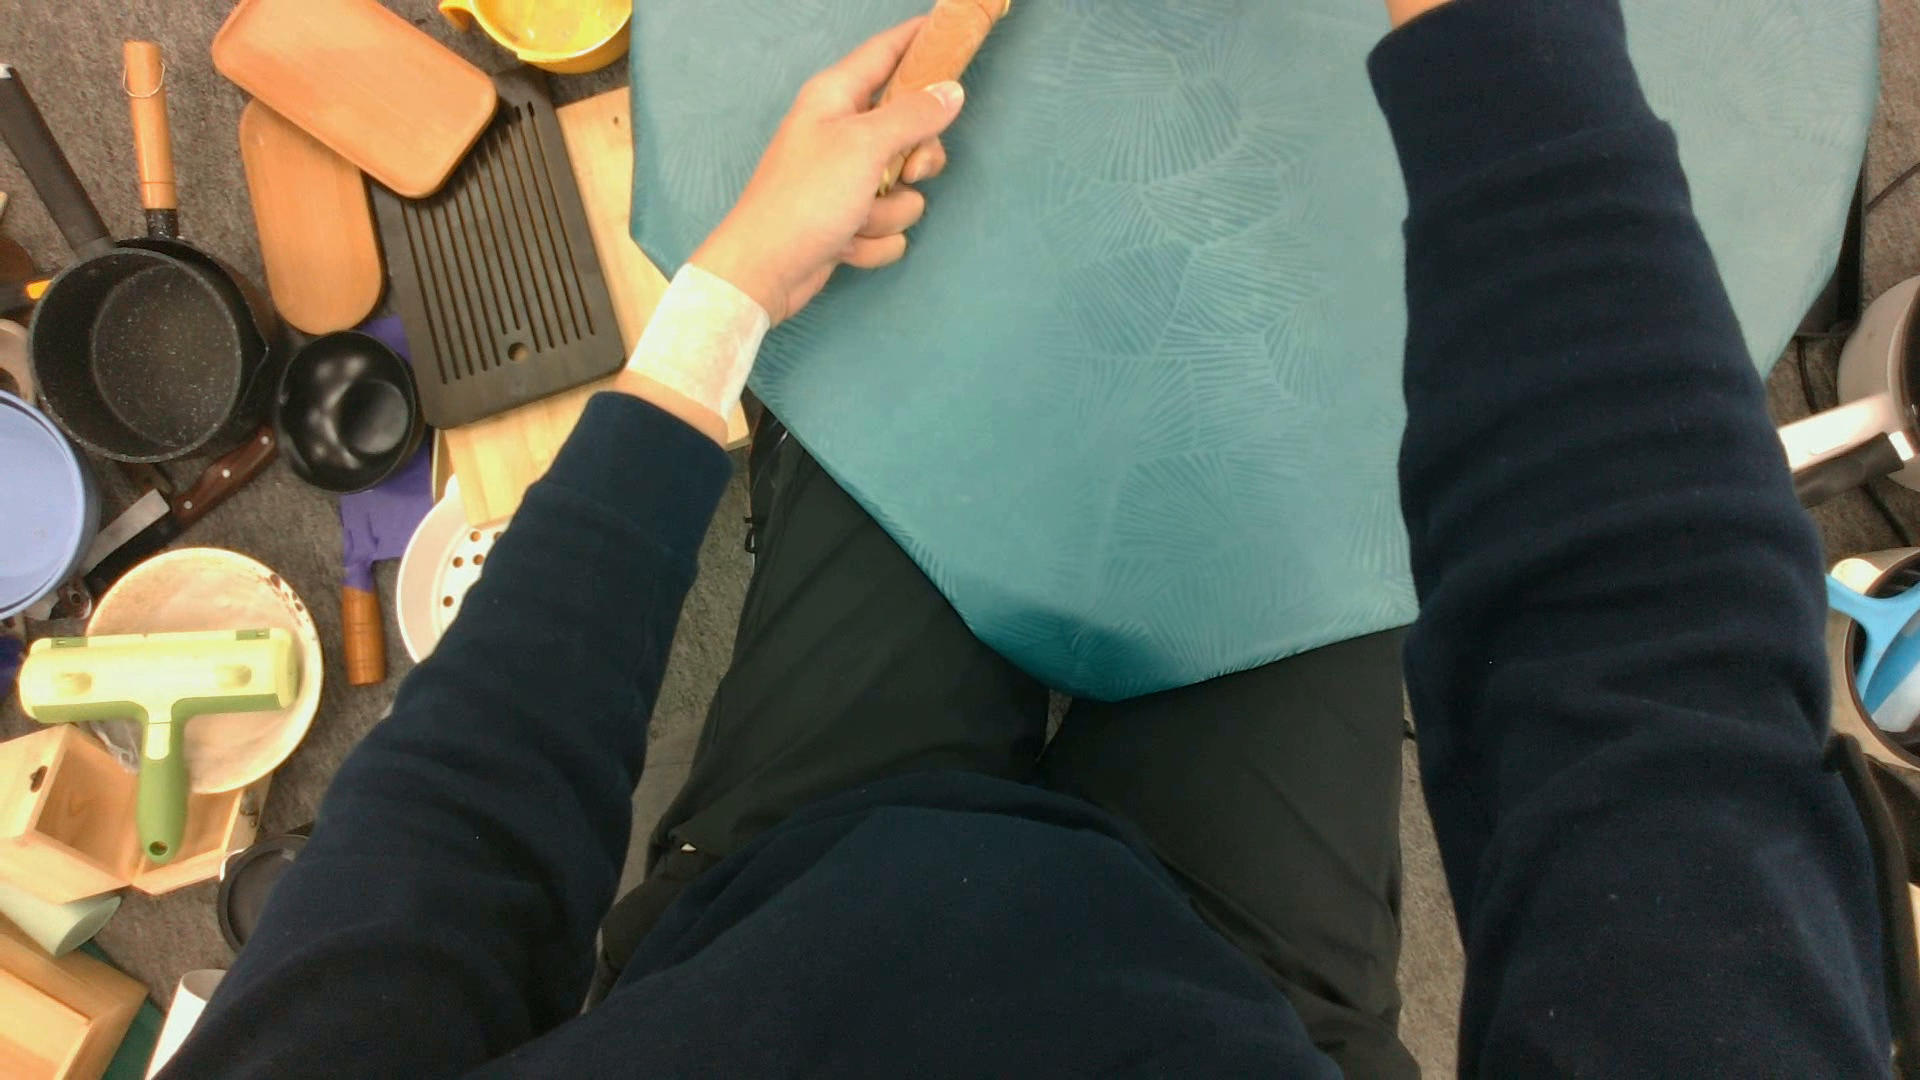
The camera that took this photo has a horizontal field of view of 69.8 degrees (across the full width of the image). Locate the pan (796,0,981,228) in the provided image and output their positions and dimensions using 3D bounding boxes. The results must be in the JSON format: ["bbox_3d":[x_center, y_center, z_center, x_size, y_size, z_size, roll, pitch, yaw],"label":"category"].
[{"bbox_3d":[0.013,-0.285,0.639,0.169,0.049,0.324,31,88,0],"label":"pan"}]
